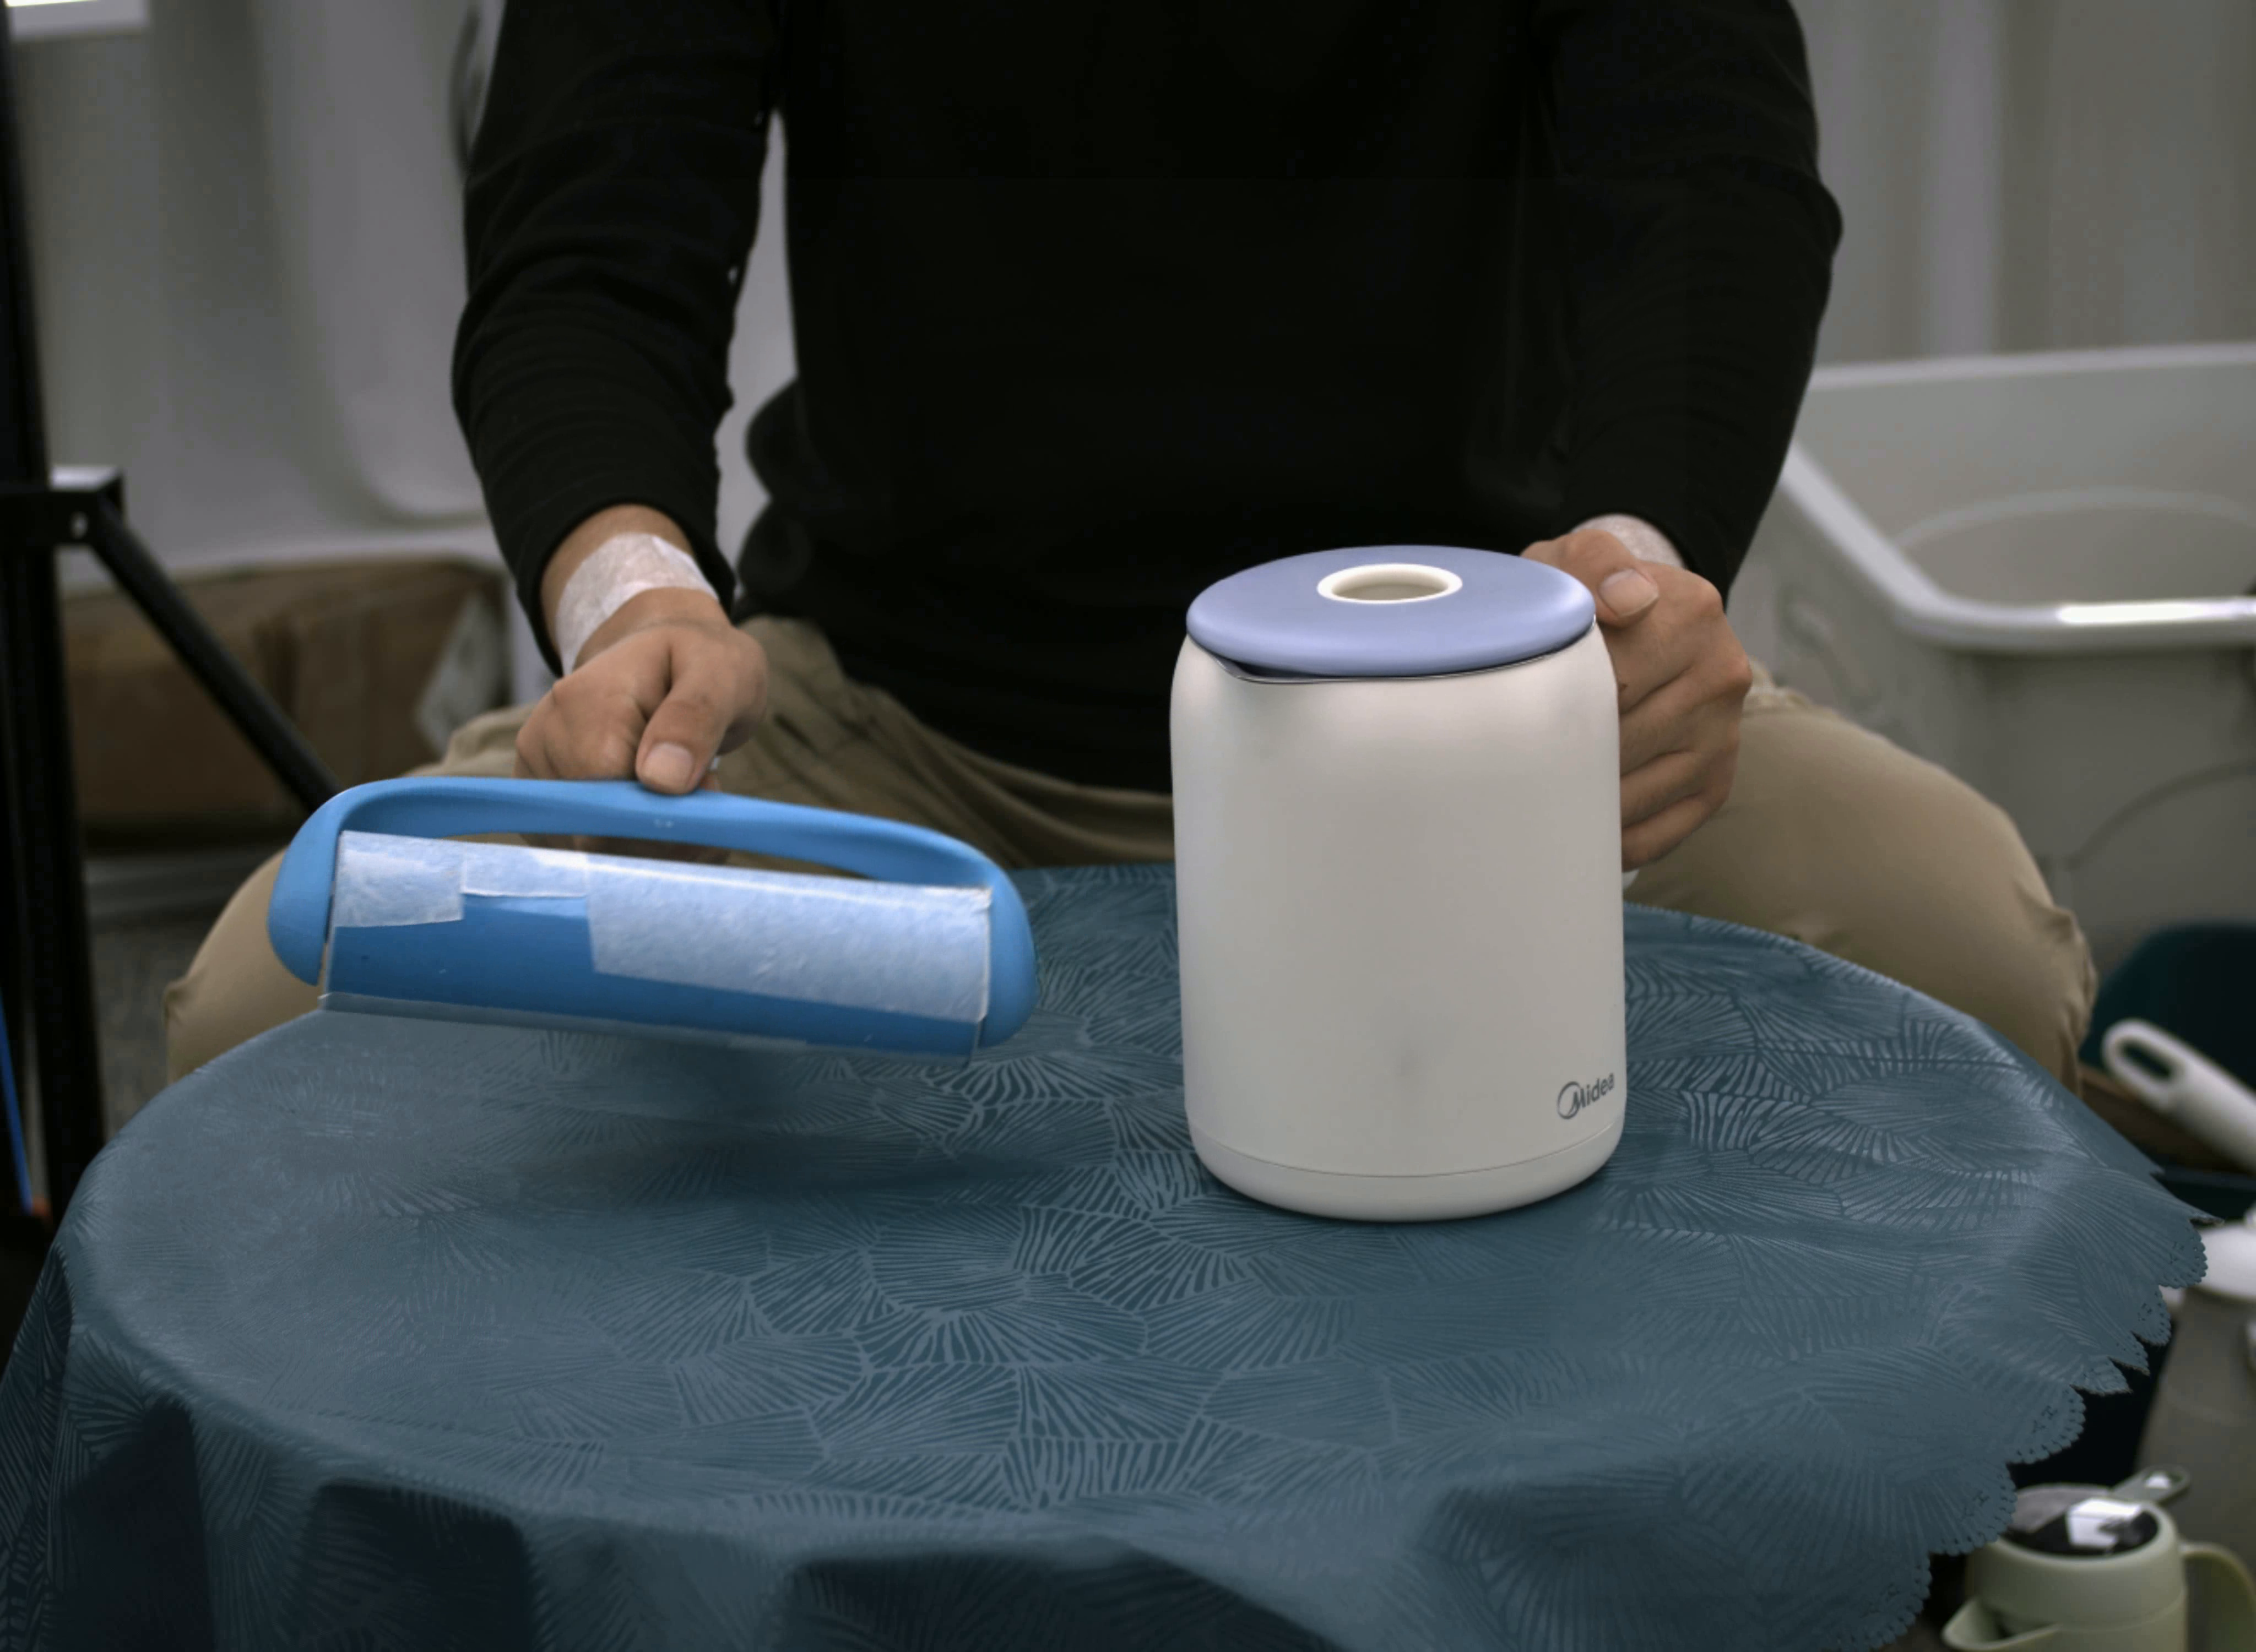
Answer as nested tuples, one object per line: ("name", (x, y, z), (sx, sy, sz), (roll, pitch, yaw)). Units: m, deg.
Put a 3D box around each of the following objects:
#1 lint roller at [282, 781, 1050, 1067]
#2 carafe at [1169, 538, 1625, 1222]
("lint roller", (-0.145, 0.017, 1.636), (0.226, 0.068, 0.182), (3, 19, -9))
("carafe", (0.094, 0.009, 1.568), (0.135, 0.182, 0.187), (11, 20, 37))
